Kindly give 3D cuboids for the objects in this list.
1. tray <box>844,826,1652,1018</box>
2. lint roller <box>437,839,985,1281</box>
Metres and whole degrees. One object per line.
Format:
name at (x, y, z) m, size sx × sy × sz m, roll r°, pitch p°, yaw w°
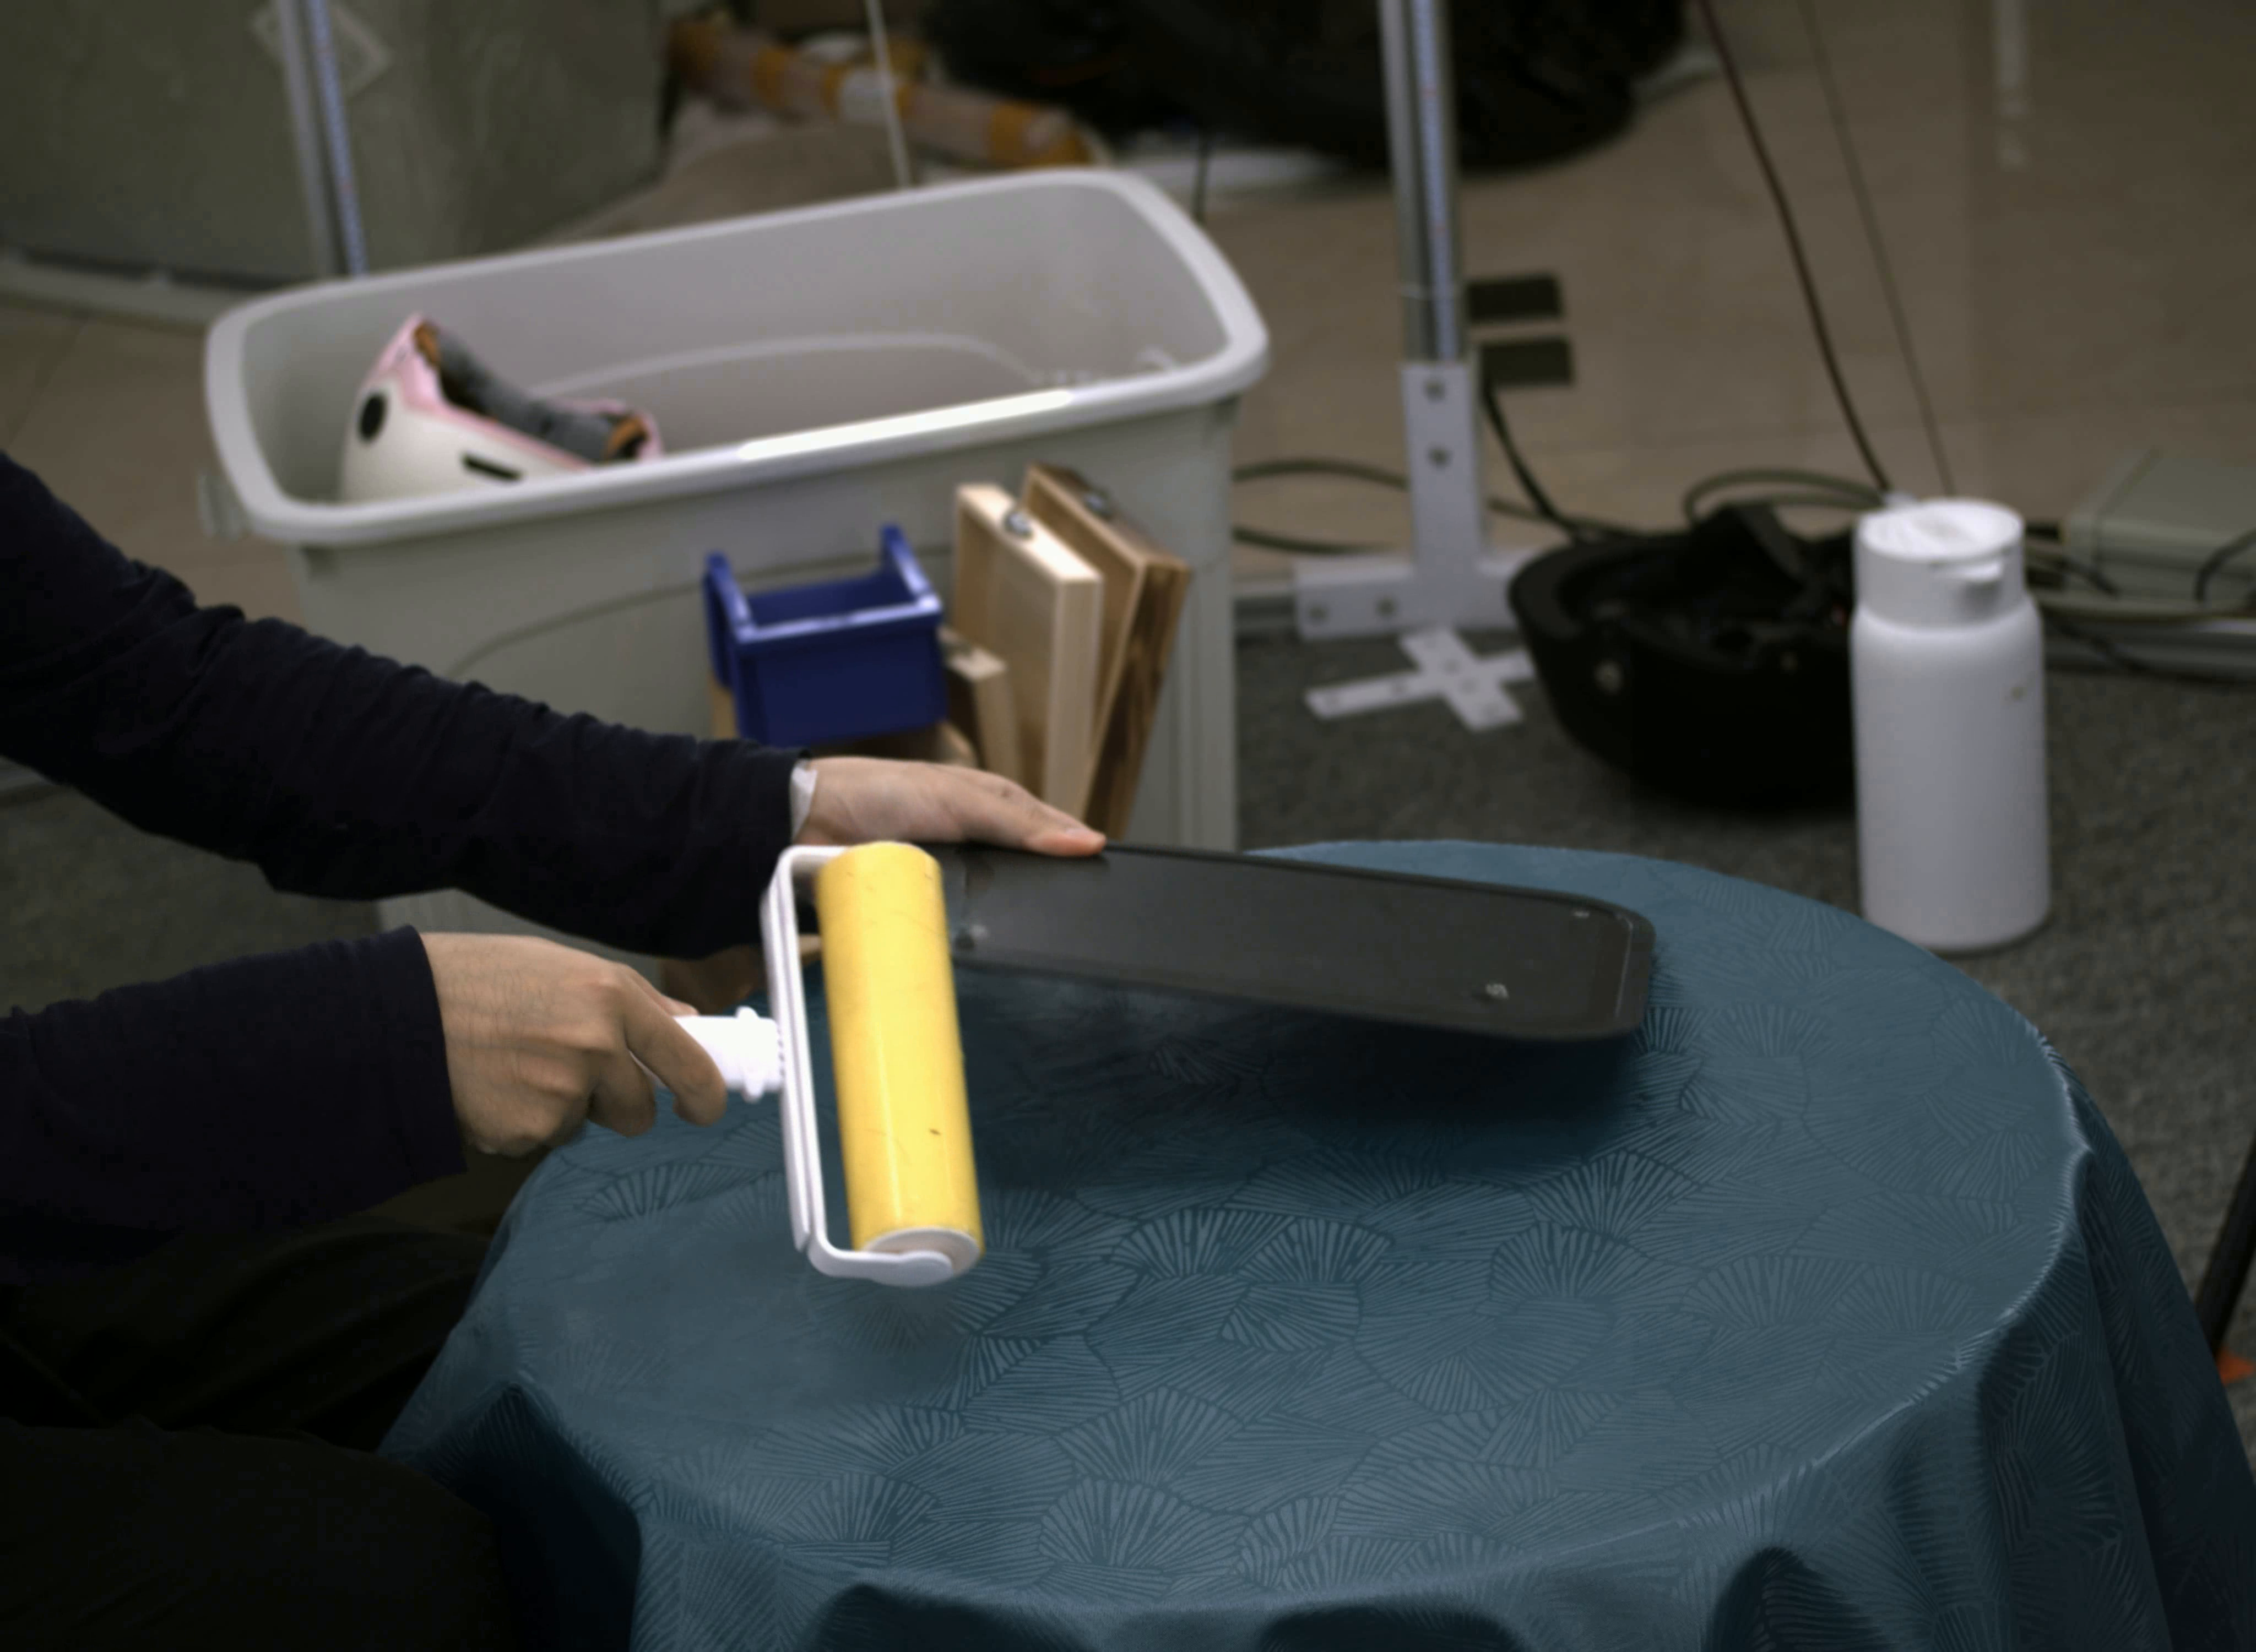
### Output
tray at (0.042, 0.035, 2.229) m, size 0.324 × 0.010 × 0.209 m, roll 7°, pitch 13°, yaw 7°
lint roller at (-0.152, 0.079, 2.047) m, size 0.192 × 0.052 × 0.172 m, roll 7°, pitch 57°, yaw -28°
